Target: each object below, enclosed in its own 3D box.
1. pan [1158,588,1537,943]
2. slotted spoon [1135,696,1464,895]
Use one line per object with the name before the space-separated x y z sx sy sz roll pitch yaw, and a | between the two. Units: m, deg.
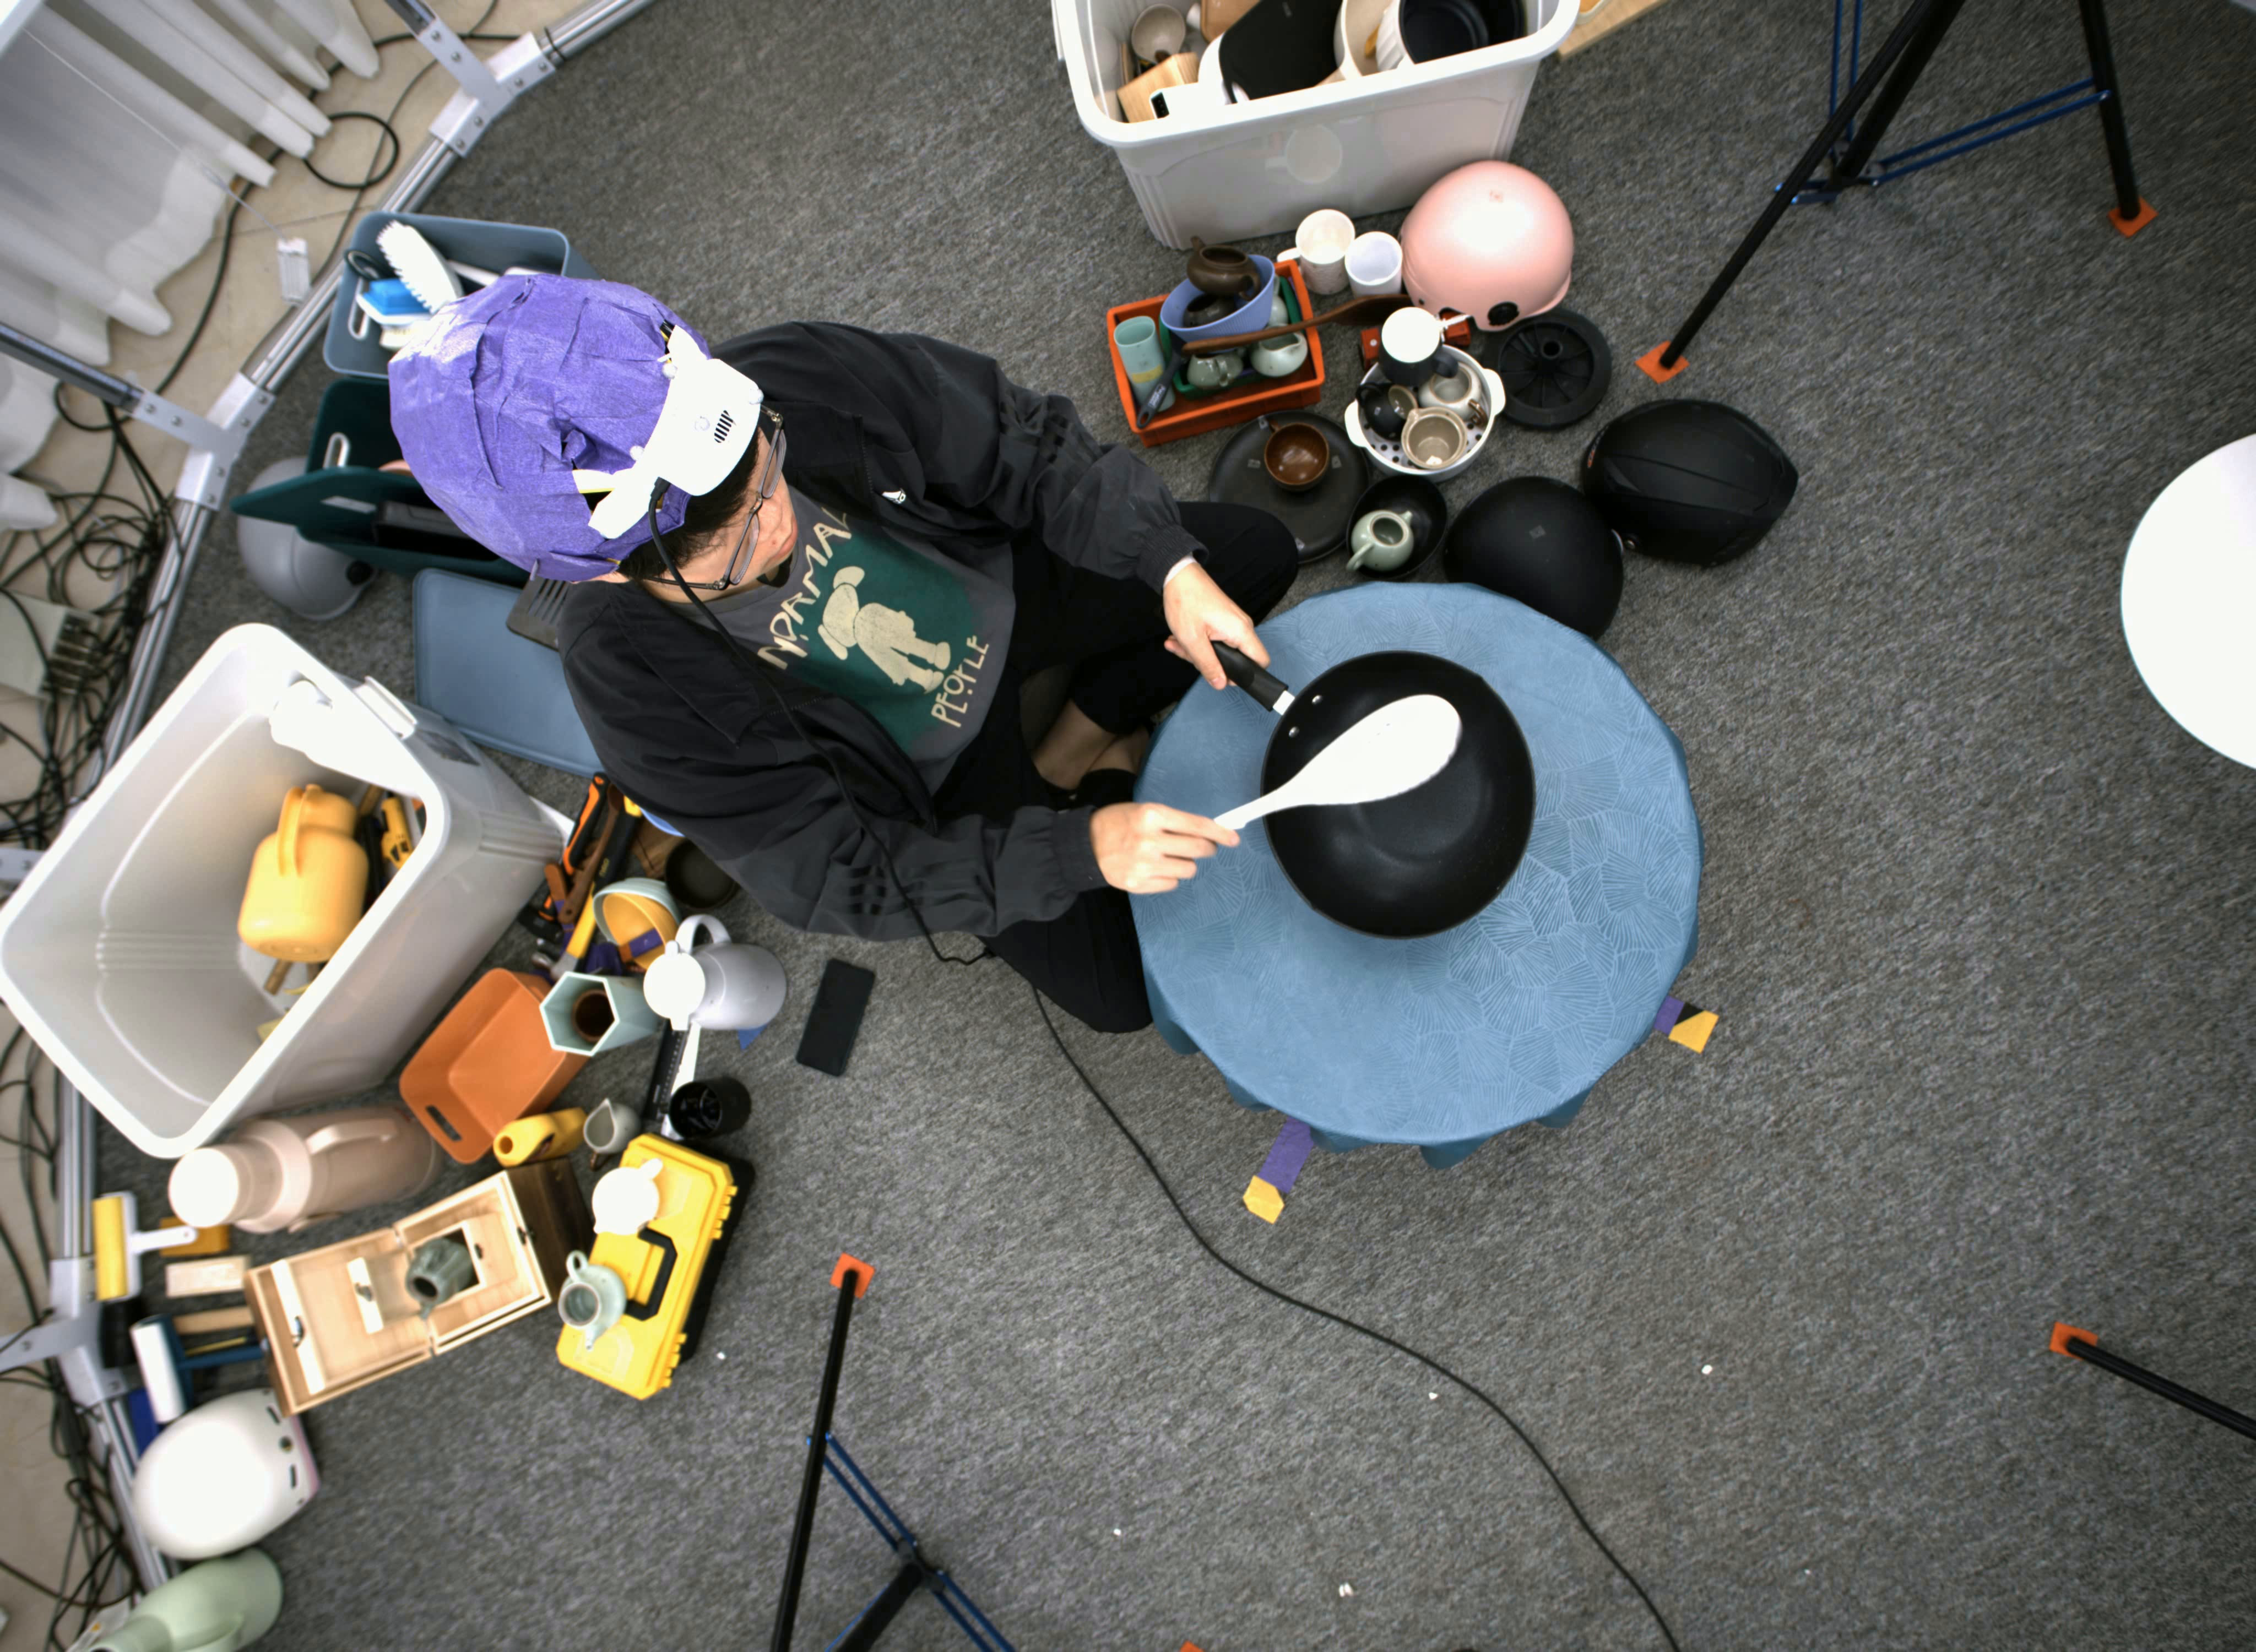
pan | 0.208 -0.089 1.386 0.460 0.086 0.294 43 117 19
slotted spoon | 0.163 -0.019 1.315 0.350 0.138 0.049 -23 60 11
